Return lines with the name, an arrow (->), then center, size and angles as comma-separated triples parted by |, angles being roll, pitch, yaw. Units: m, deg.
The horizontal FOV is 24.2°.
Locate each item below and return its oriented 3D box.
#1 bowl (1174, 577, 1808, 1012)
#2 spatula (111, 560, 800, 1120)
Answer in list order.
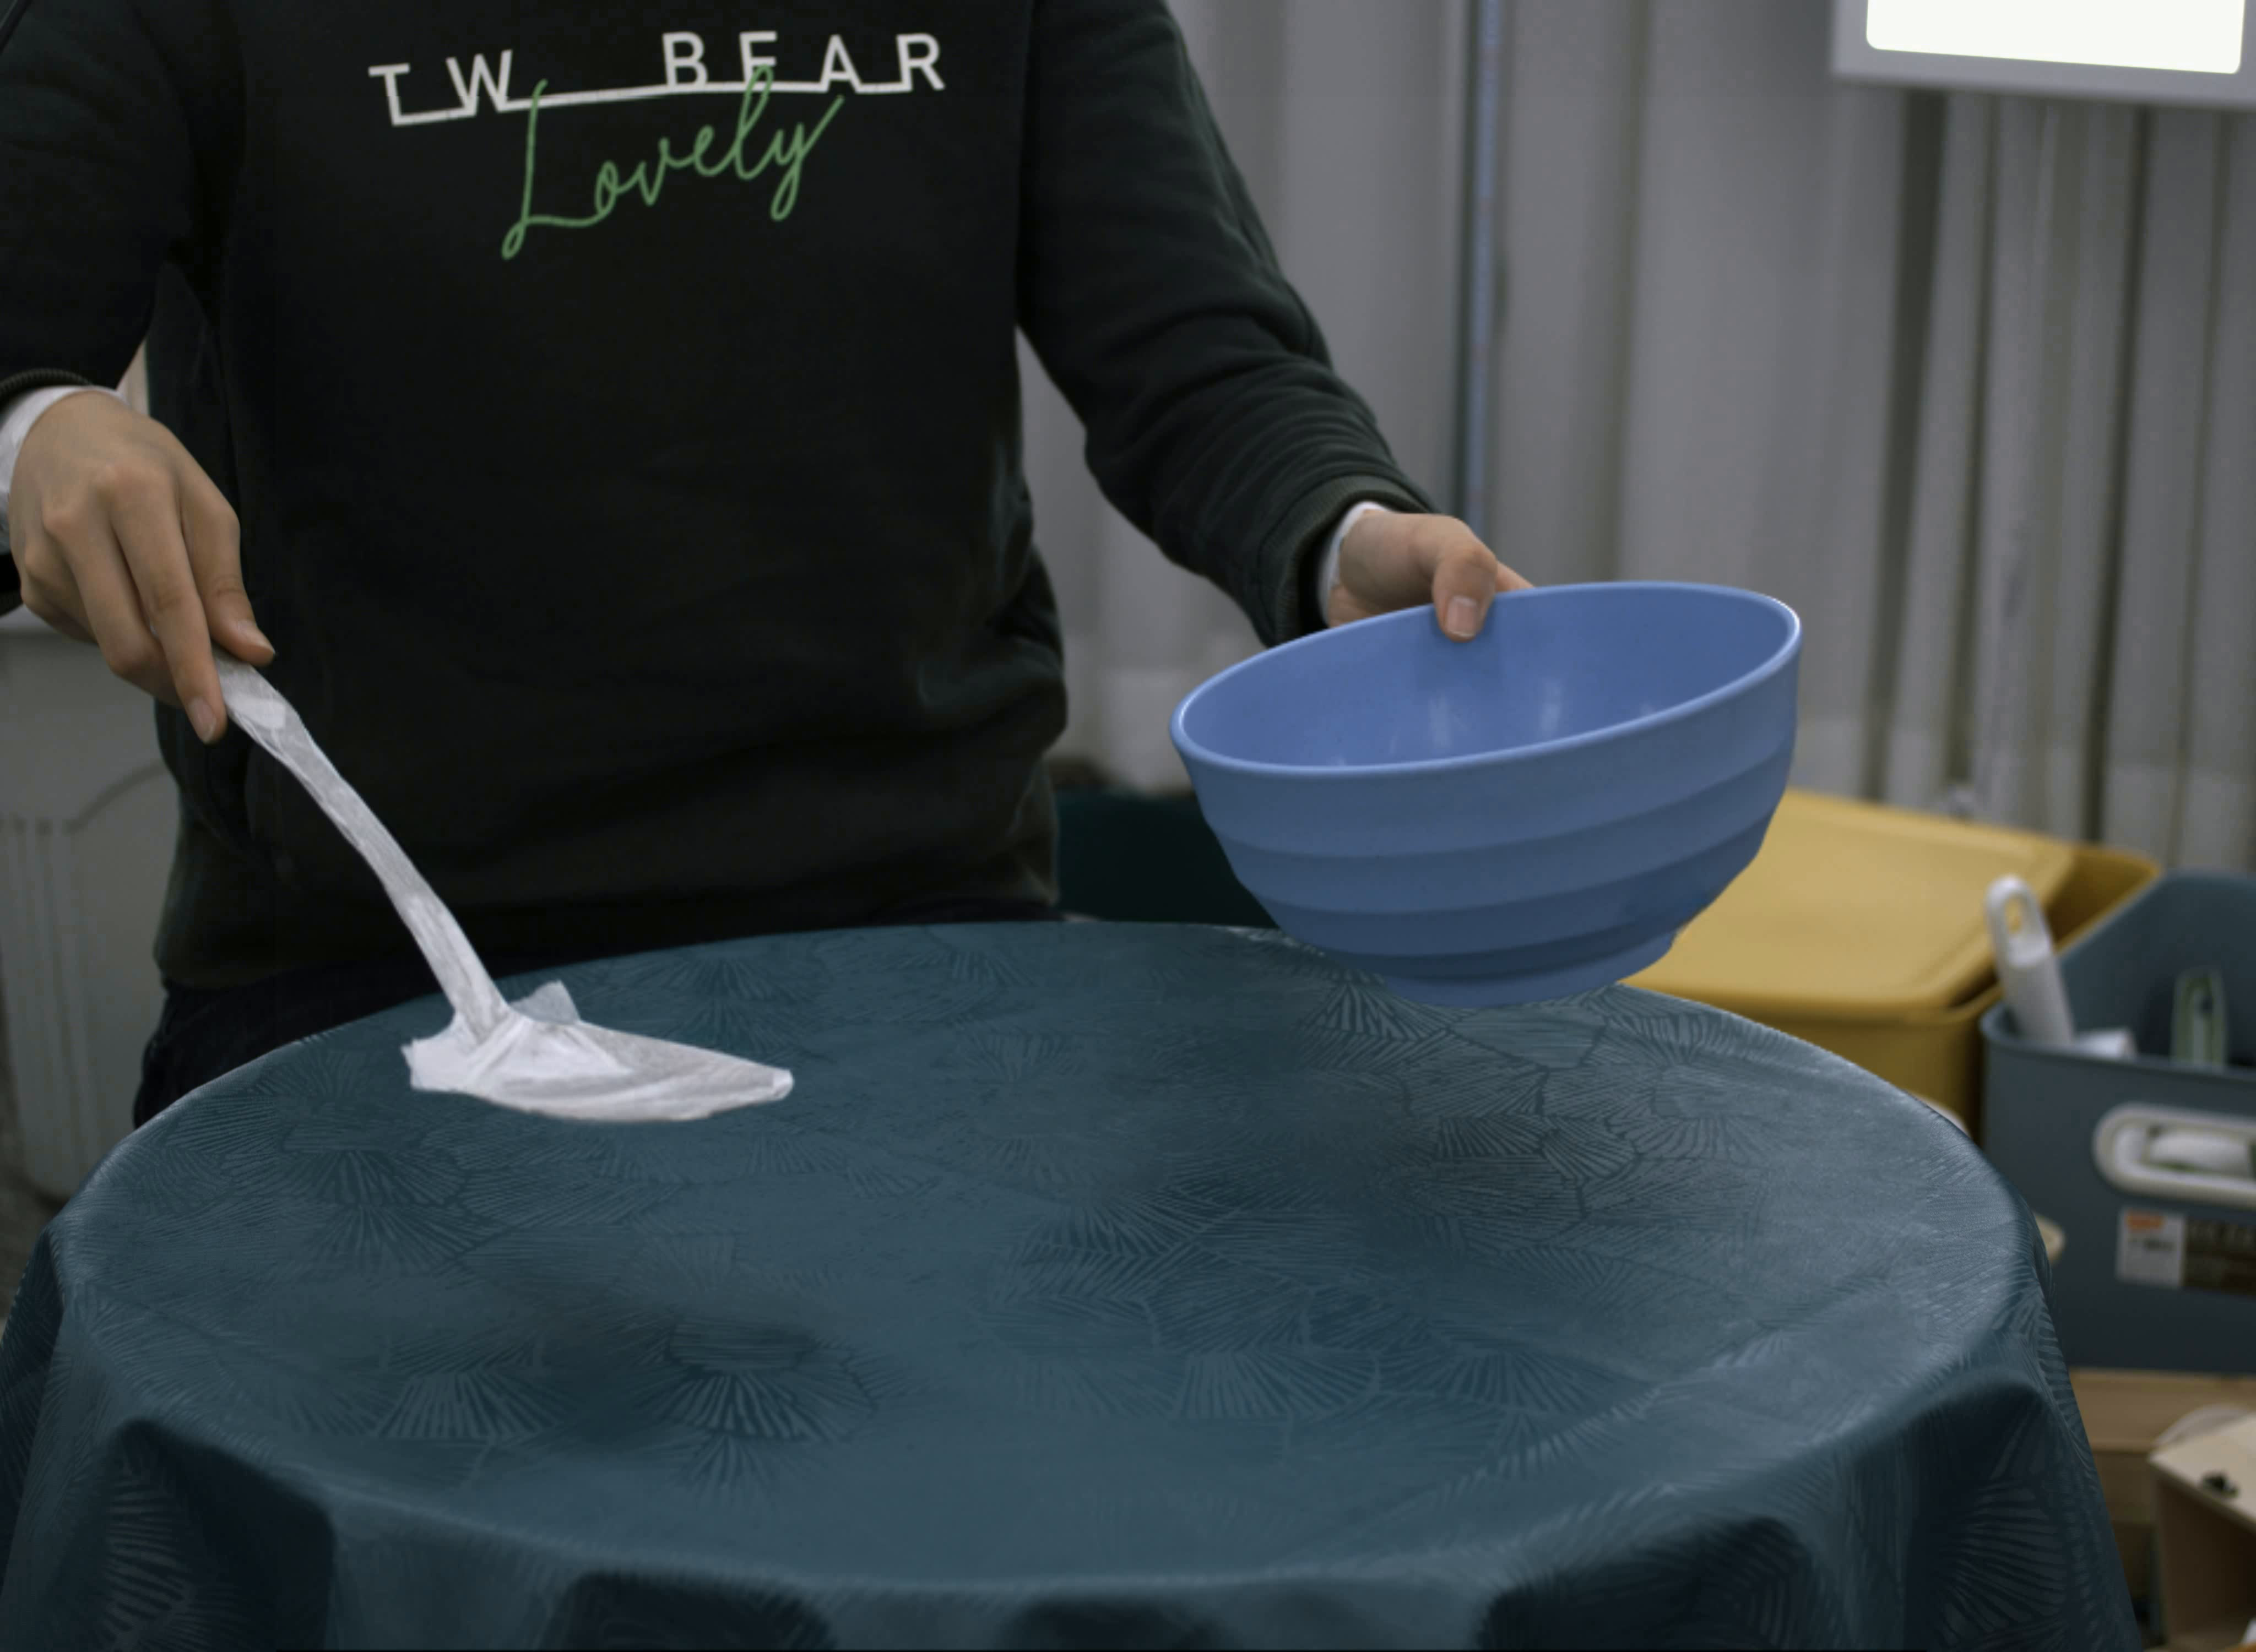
bowl -> 0.118, -0.003, 1.625 | 0.196, 0.096, 0.195 | -9, 17, 3
spatula -> -0.223, -0.004, 1.562 | 0.099, 0.045, 0.360 | -5, 37, -38
